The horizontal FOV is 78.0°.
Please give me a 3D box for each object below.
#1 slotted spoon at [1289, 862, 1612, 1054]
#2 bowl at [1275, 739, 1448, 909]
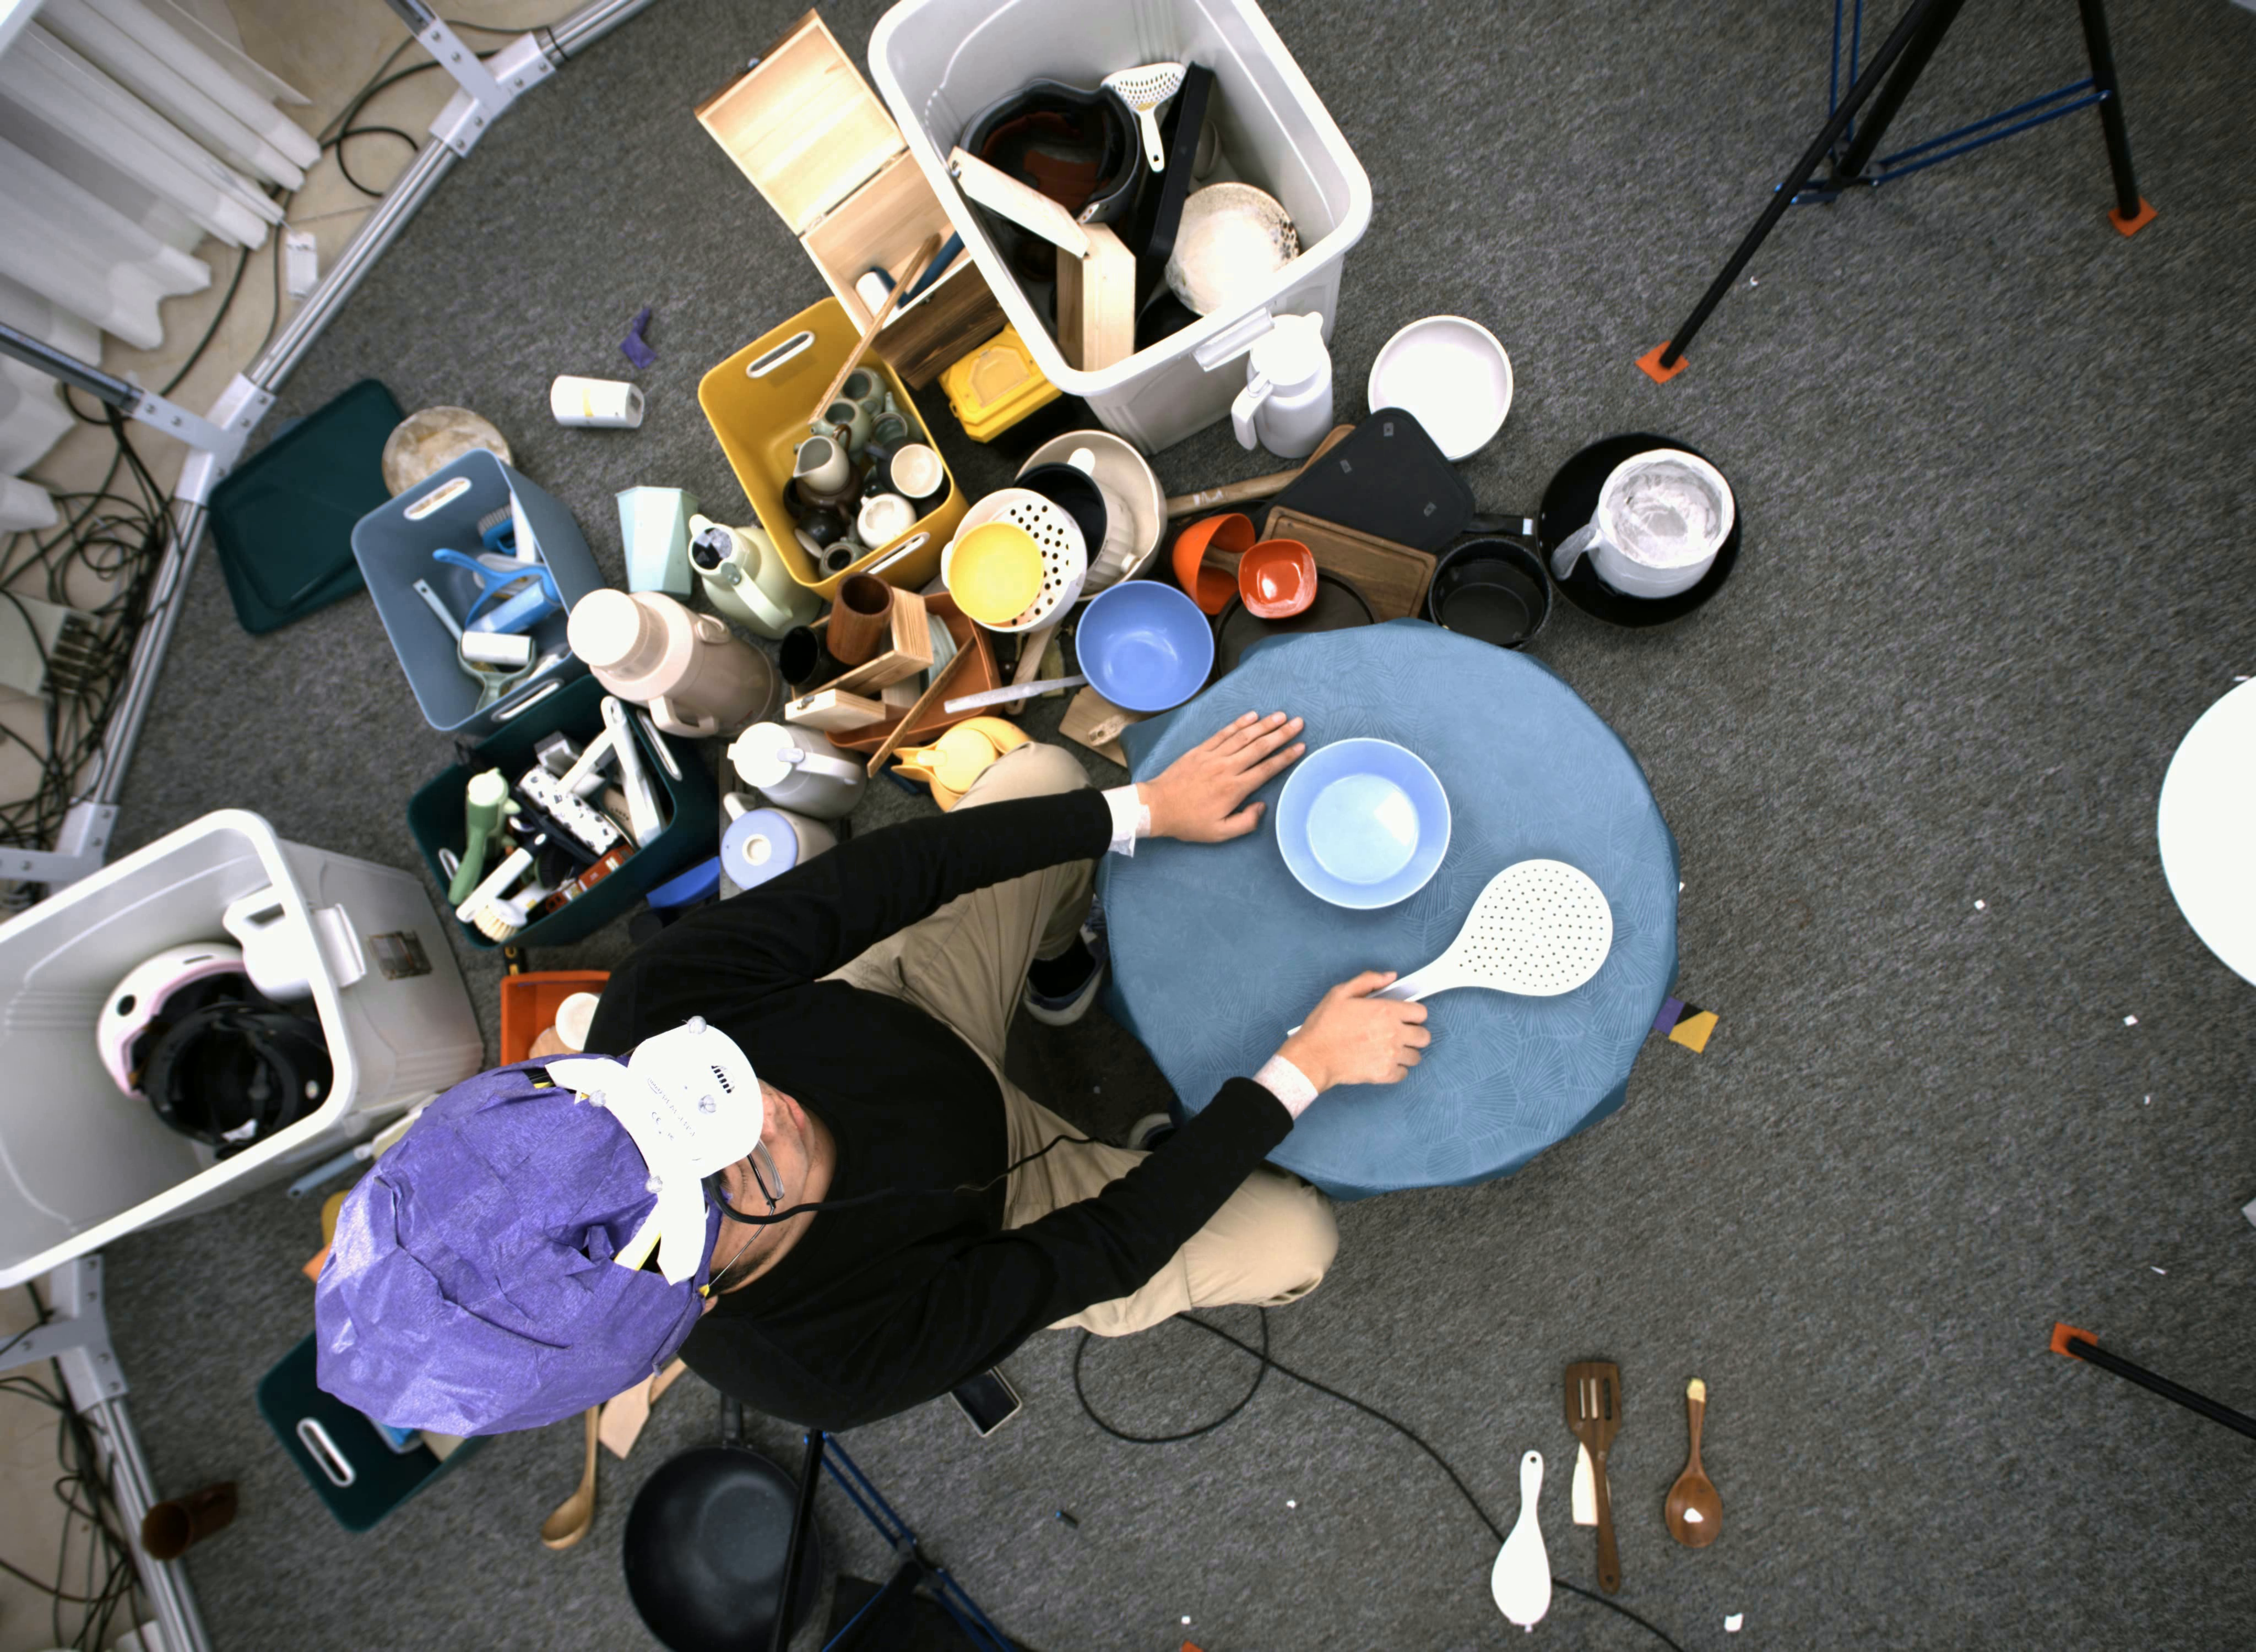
[{"bbox_3d":[0.327,0.151,1.422,0.352,0.045,0.135,-27,83,9],"label":"slotted spoon"},{"bbox_3d":[0.243,-0.001,1.434,0.177,0.070,0.175,-1,87,11],"label":"bowl"}]
